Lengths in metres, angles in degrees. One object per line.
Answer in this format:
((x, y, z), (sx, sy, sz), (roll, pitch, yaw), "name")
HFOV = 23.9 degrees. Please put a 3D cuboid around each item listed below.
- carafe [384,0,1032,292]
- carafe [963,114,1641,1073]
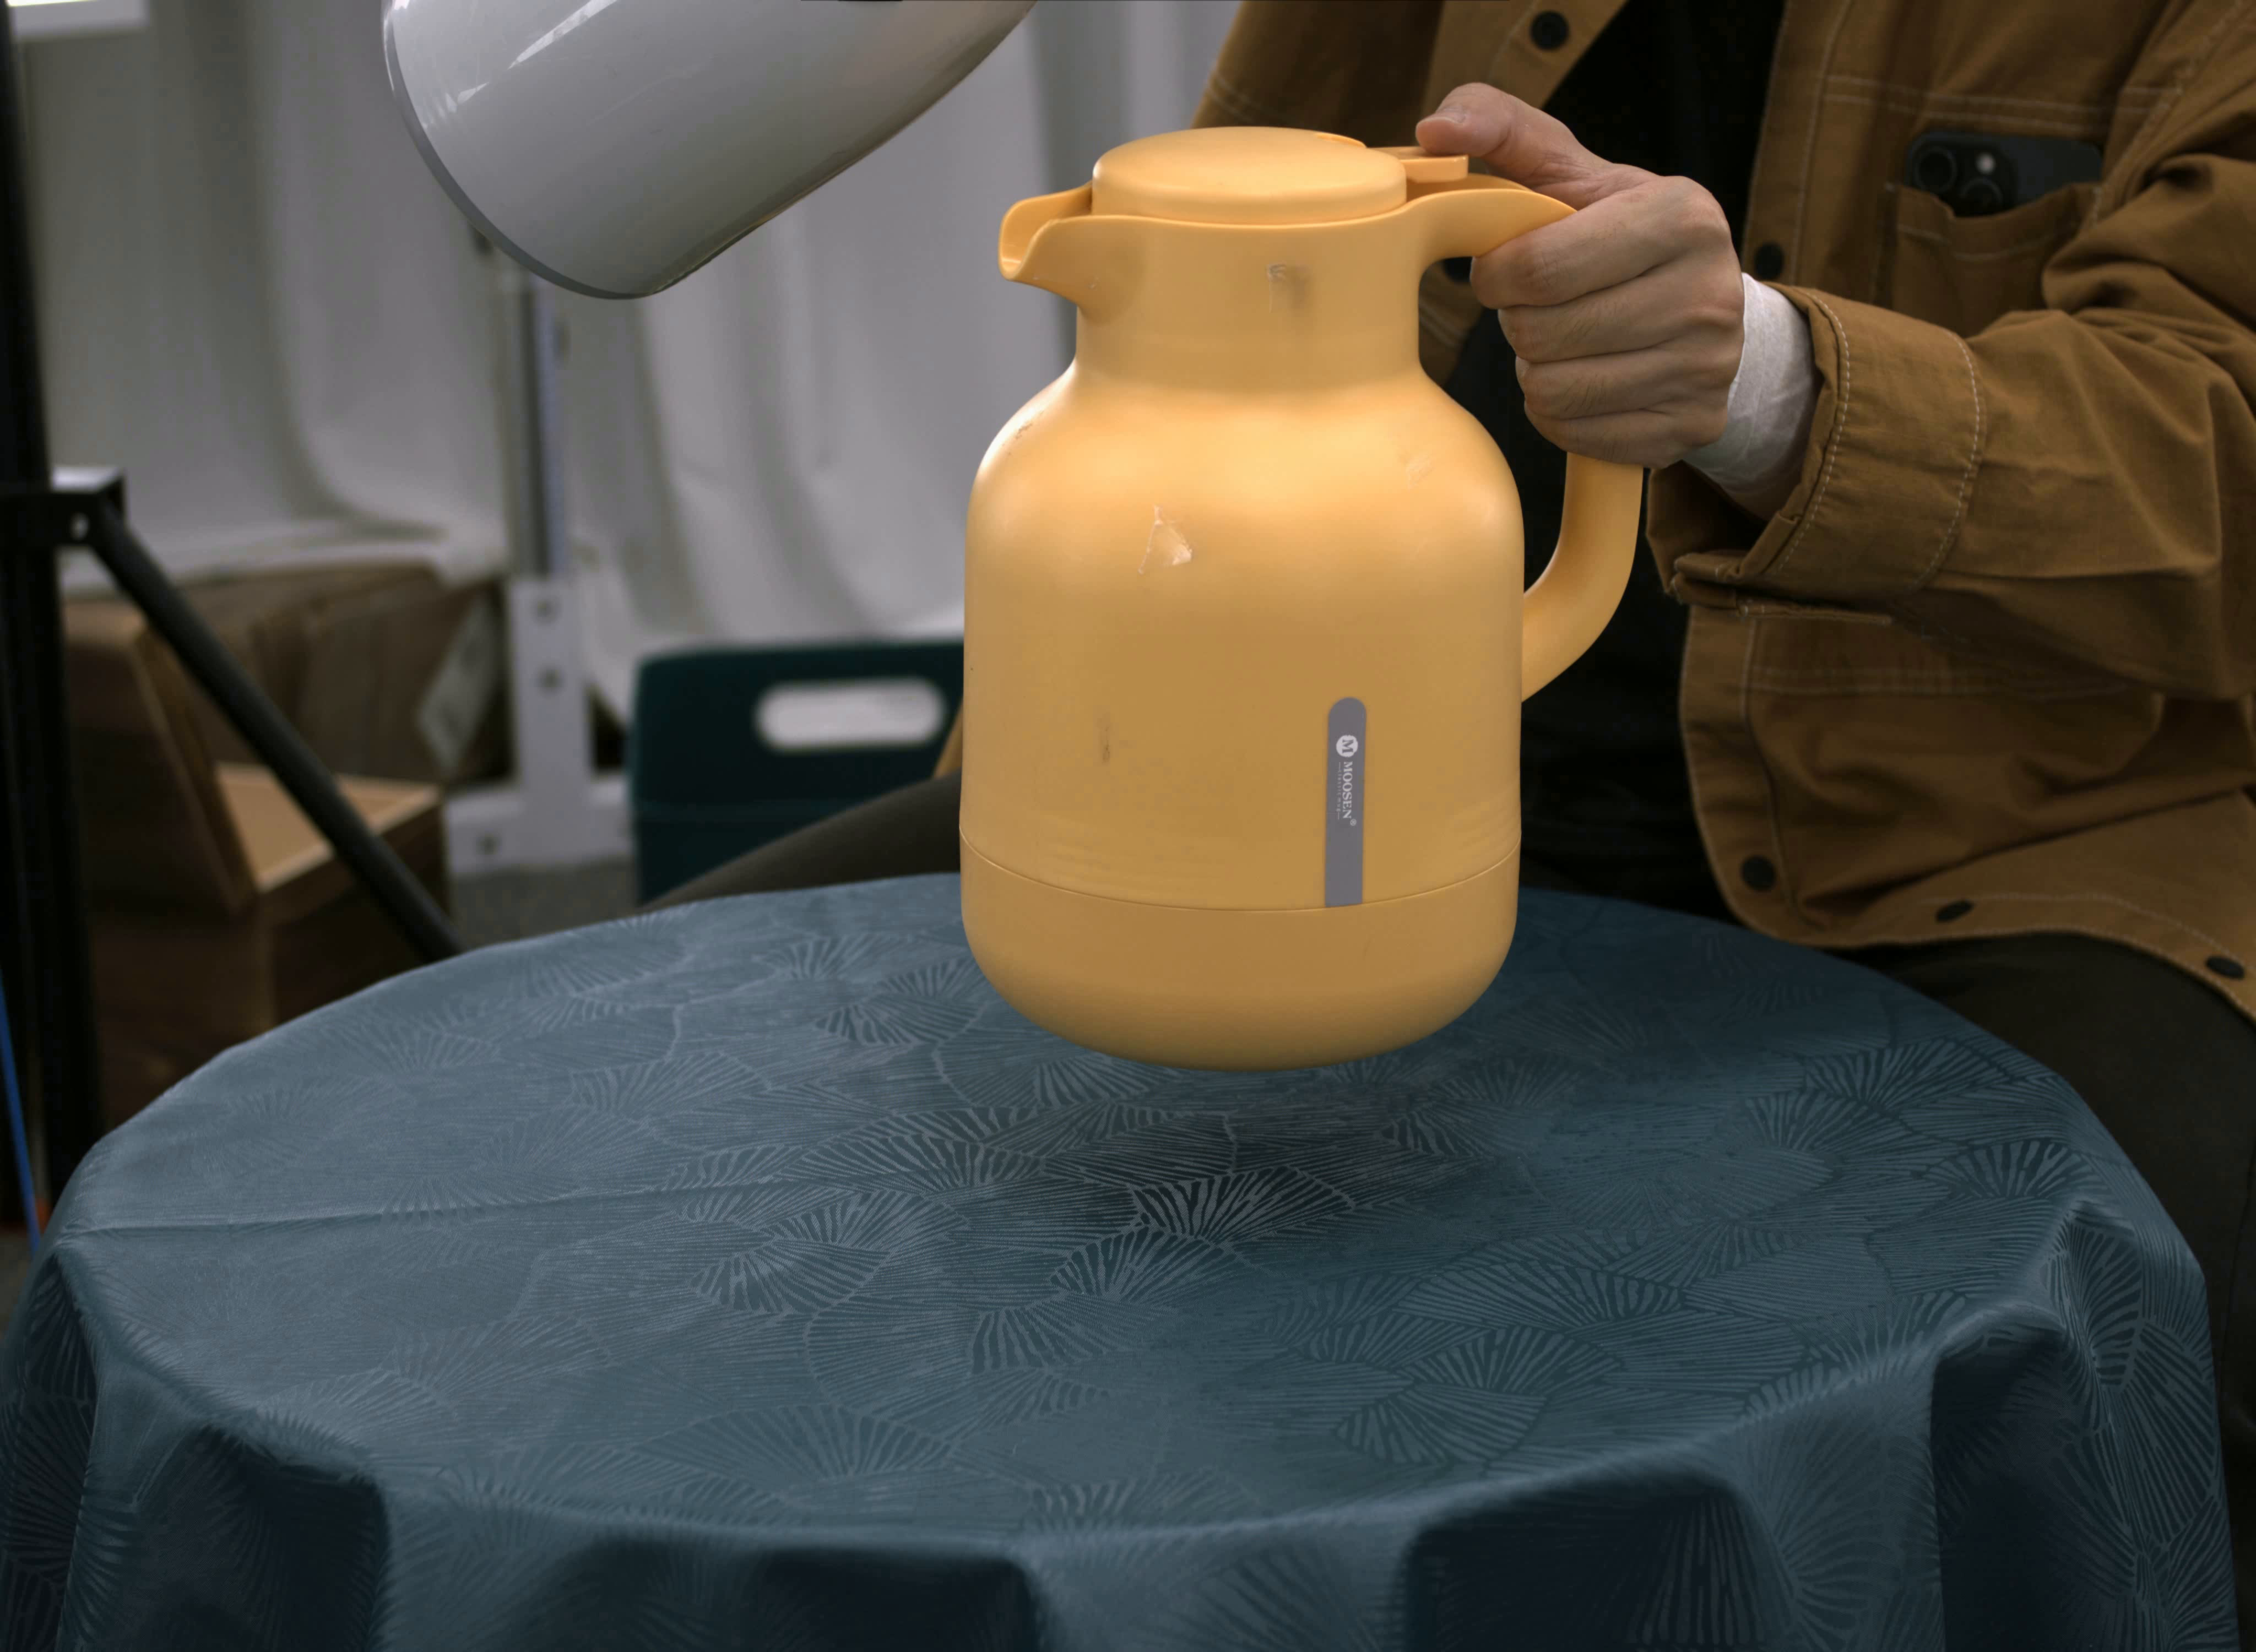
((-0.096, -0.282, 1.545), (0.252, 0.168, 0.130), (-28, -2, 38), "carafe")
((0.052, -0.071, 1.524), (0.199, 0.260, 0.166), (-7, 19, -18), "carafe")
